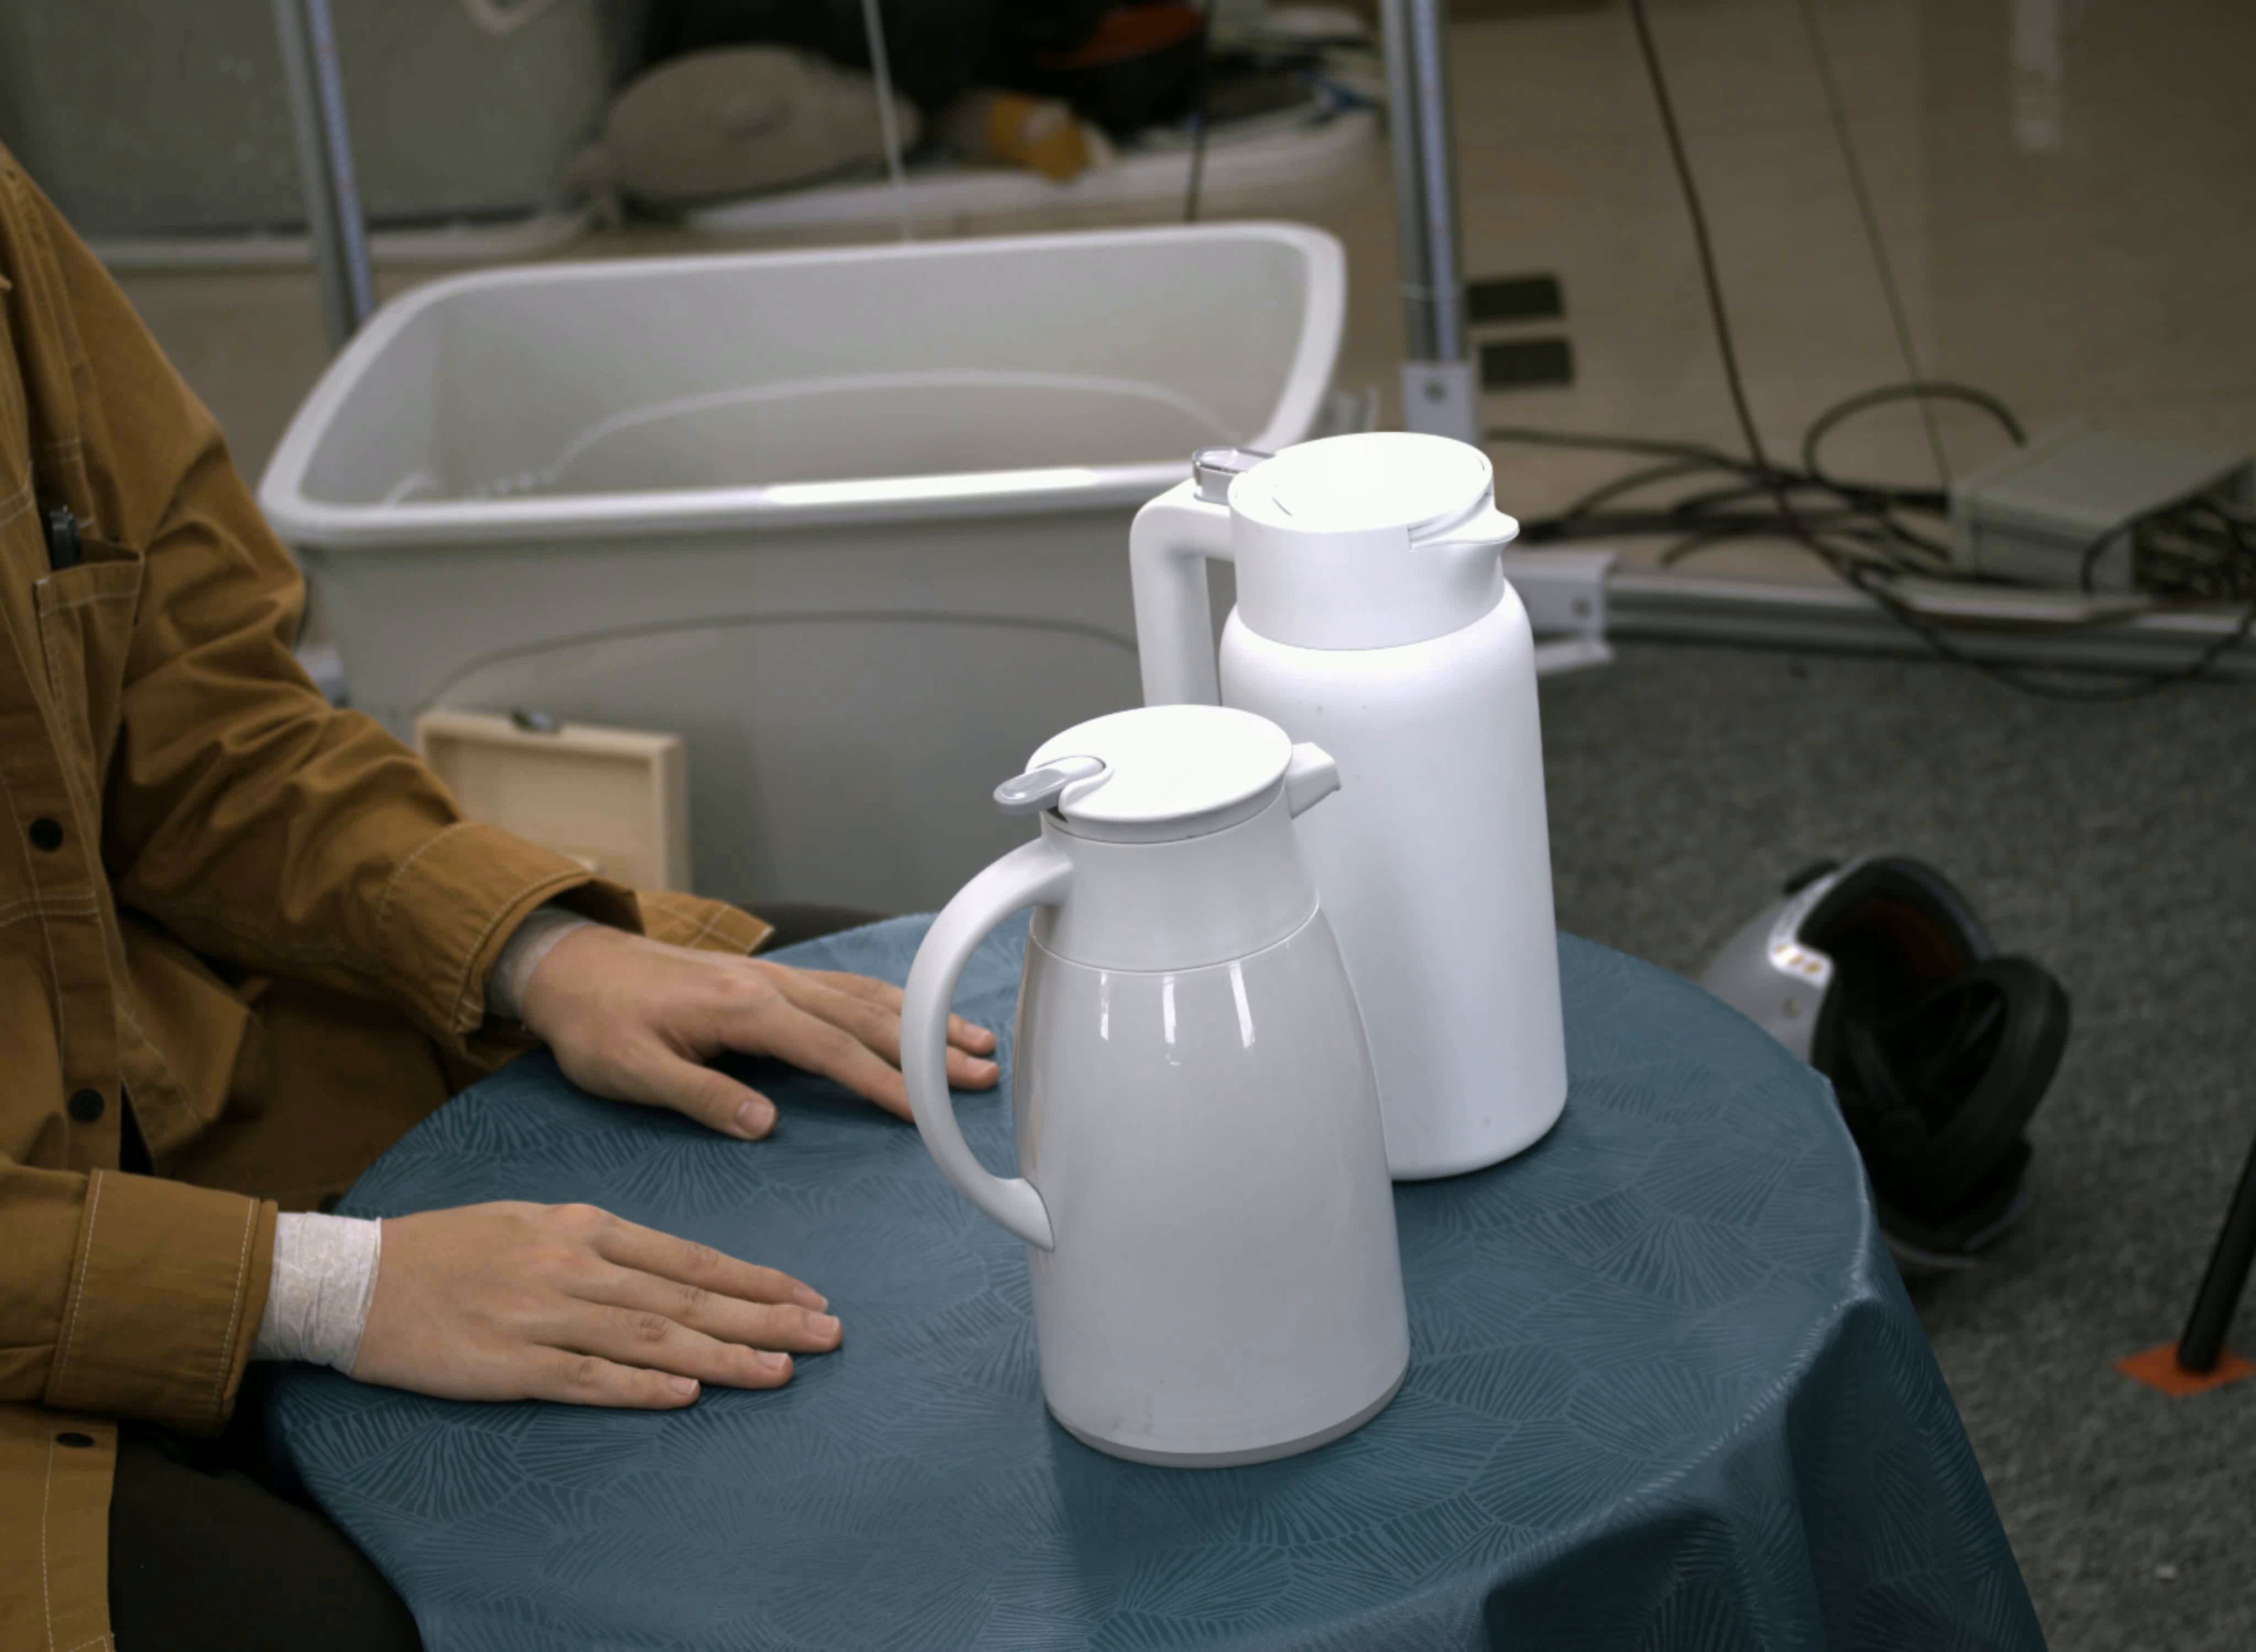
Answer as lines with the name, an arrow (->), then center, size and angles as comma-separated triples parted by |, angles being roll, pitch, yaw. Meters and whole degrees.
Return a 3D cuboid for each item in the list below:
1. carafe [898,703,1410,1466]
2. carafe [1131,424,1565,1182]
carafe -> 0.005, 0.088, 1.959 | 0.167, 0.252, 0.131 | -17, 27, -19
carafe -> 0.083, -0.010, 2.128 | 0.172, 0.273, 0.122 | 13, 34, 36
